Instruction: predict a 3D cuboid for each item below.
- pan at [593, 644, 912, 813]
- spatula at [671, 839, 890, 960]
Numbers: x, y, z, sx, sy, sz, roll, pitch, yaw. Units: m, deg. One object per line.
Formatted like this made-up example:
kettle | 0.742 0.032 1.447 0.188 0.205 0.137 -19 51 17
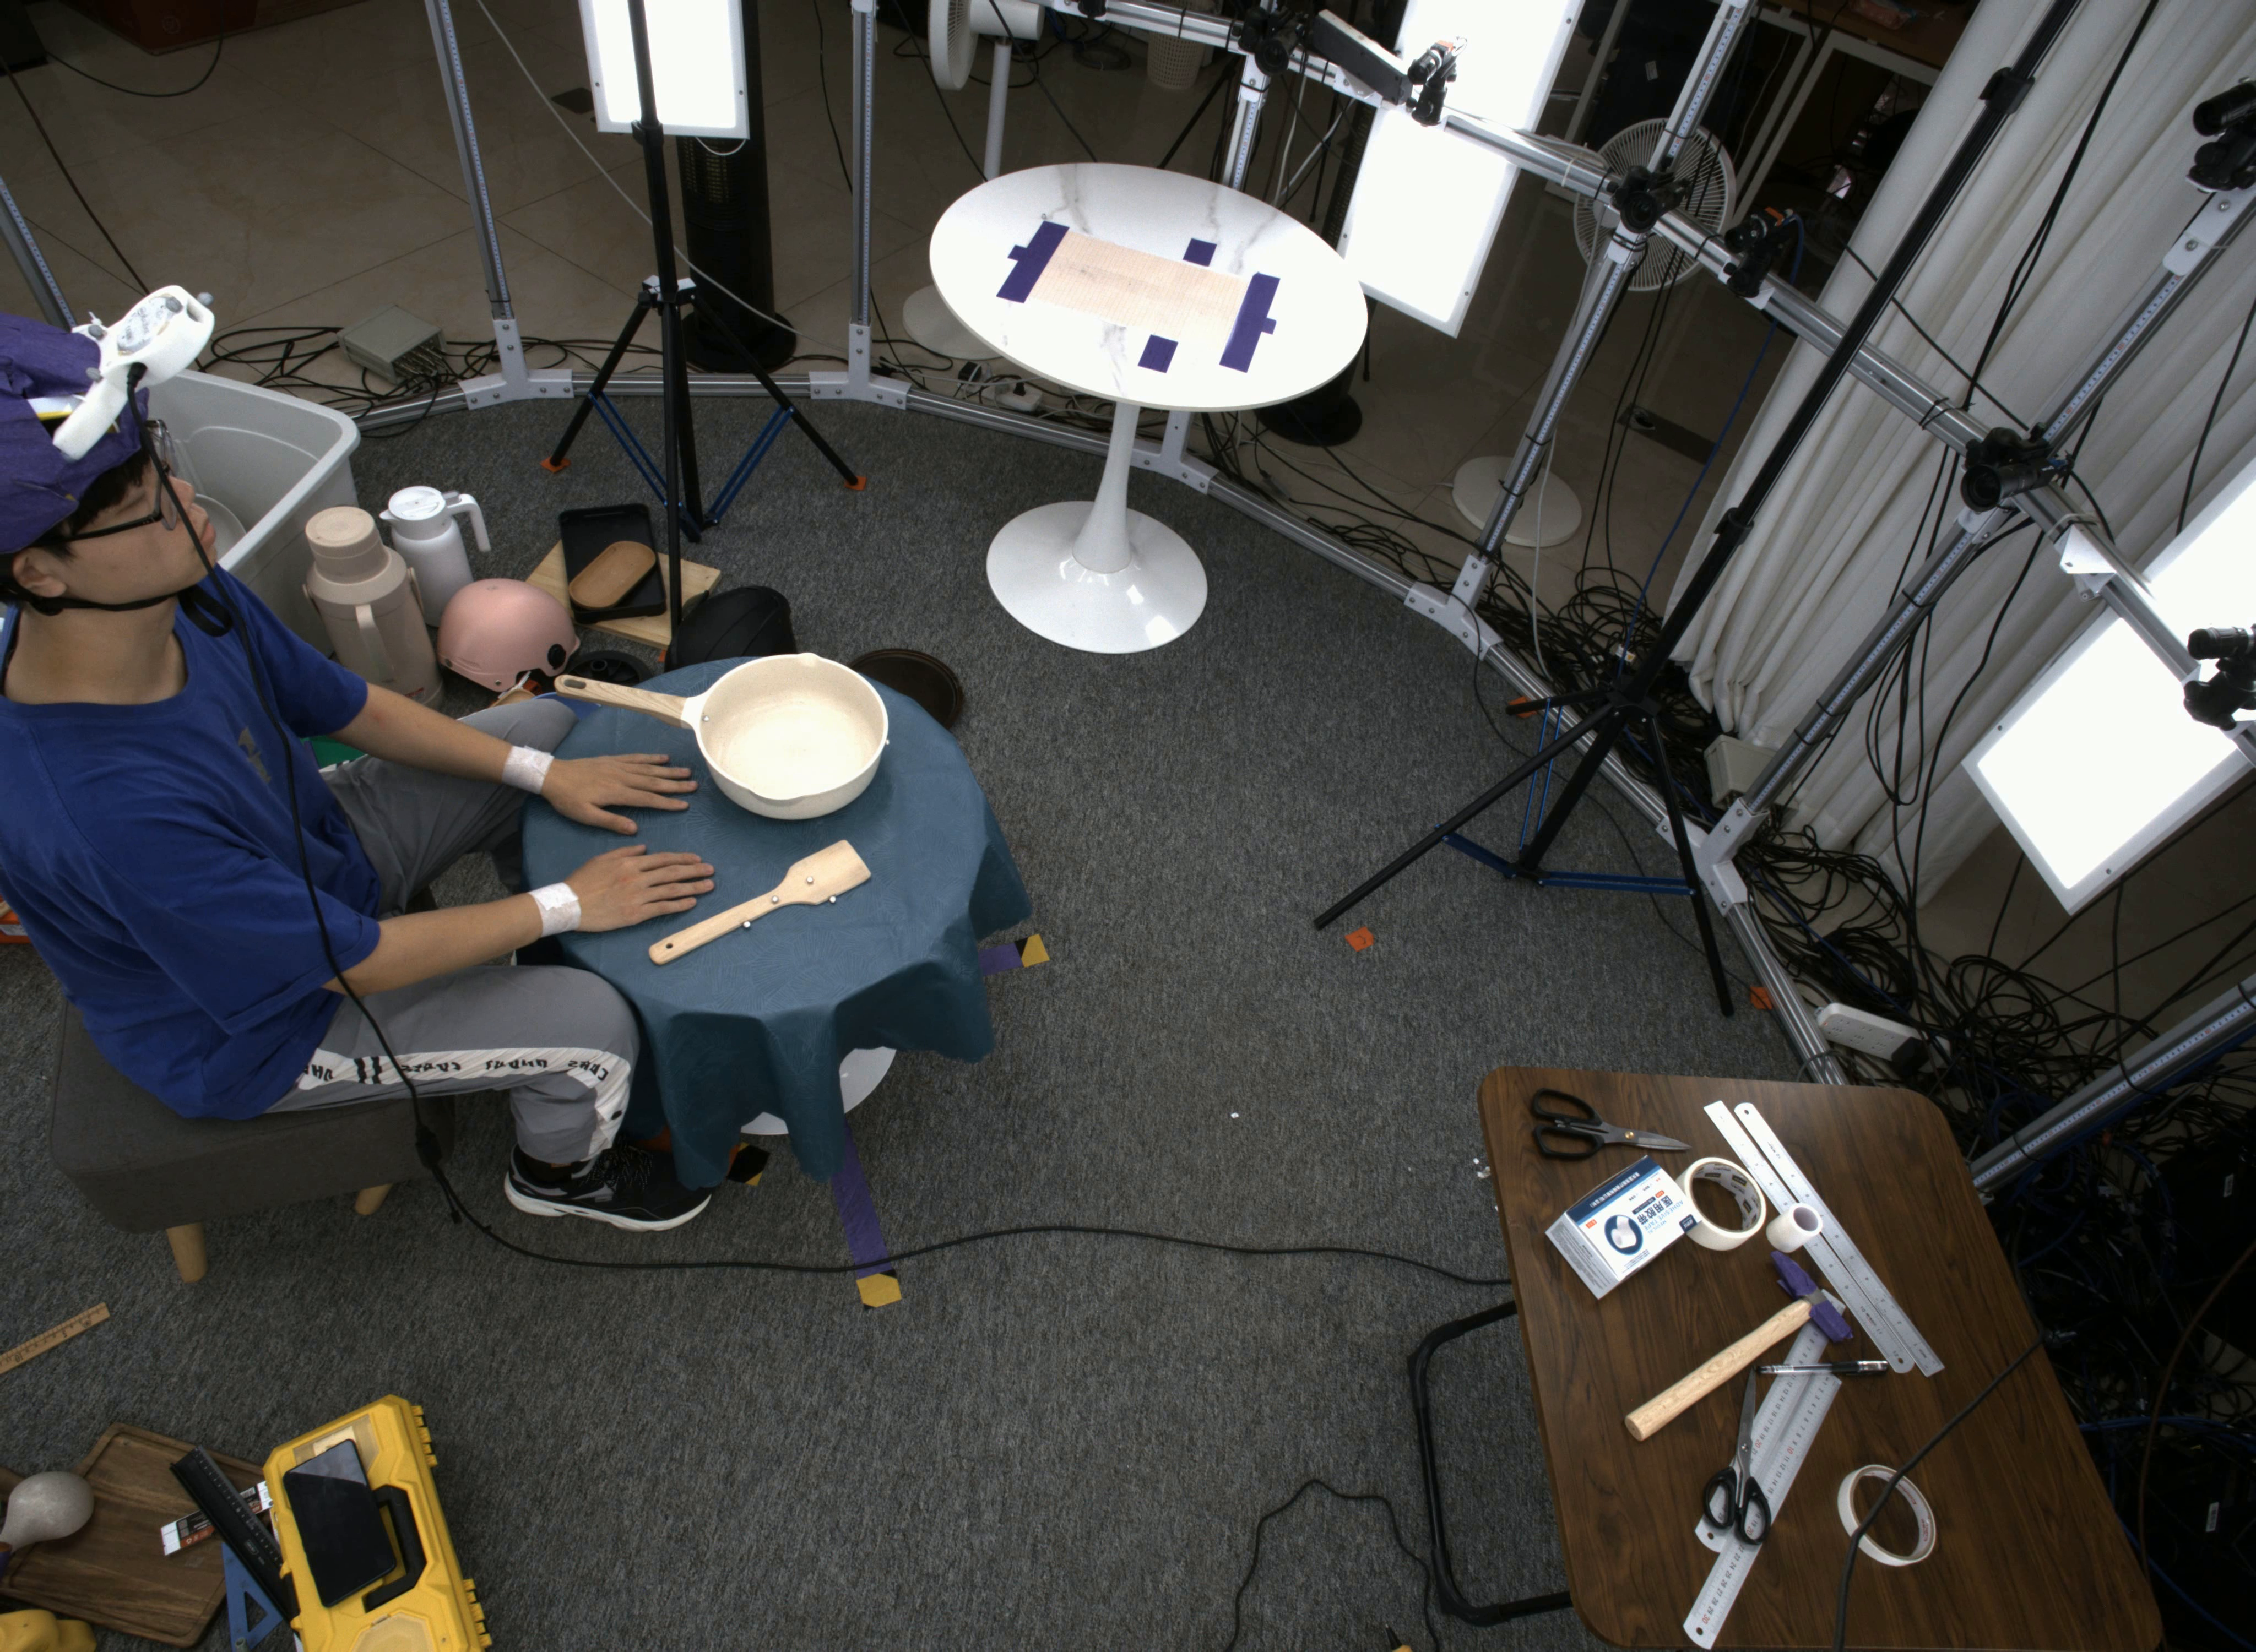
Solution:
pan | -0.511 -0.140 1.752 0.434 0.104 0.259 7 54 -9
spatula | -0.444 0.098 1.651 0.294 0.011 0.070 -27 65 -29
